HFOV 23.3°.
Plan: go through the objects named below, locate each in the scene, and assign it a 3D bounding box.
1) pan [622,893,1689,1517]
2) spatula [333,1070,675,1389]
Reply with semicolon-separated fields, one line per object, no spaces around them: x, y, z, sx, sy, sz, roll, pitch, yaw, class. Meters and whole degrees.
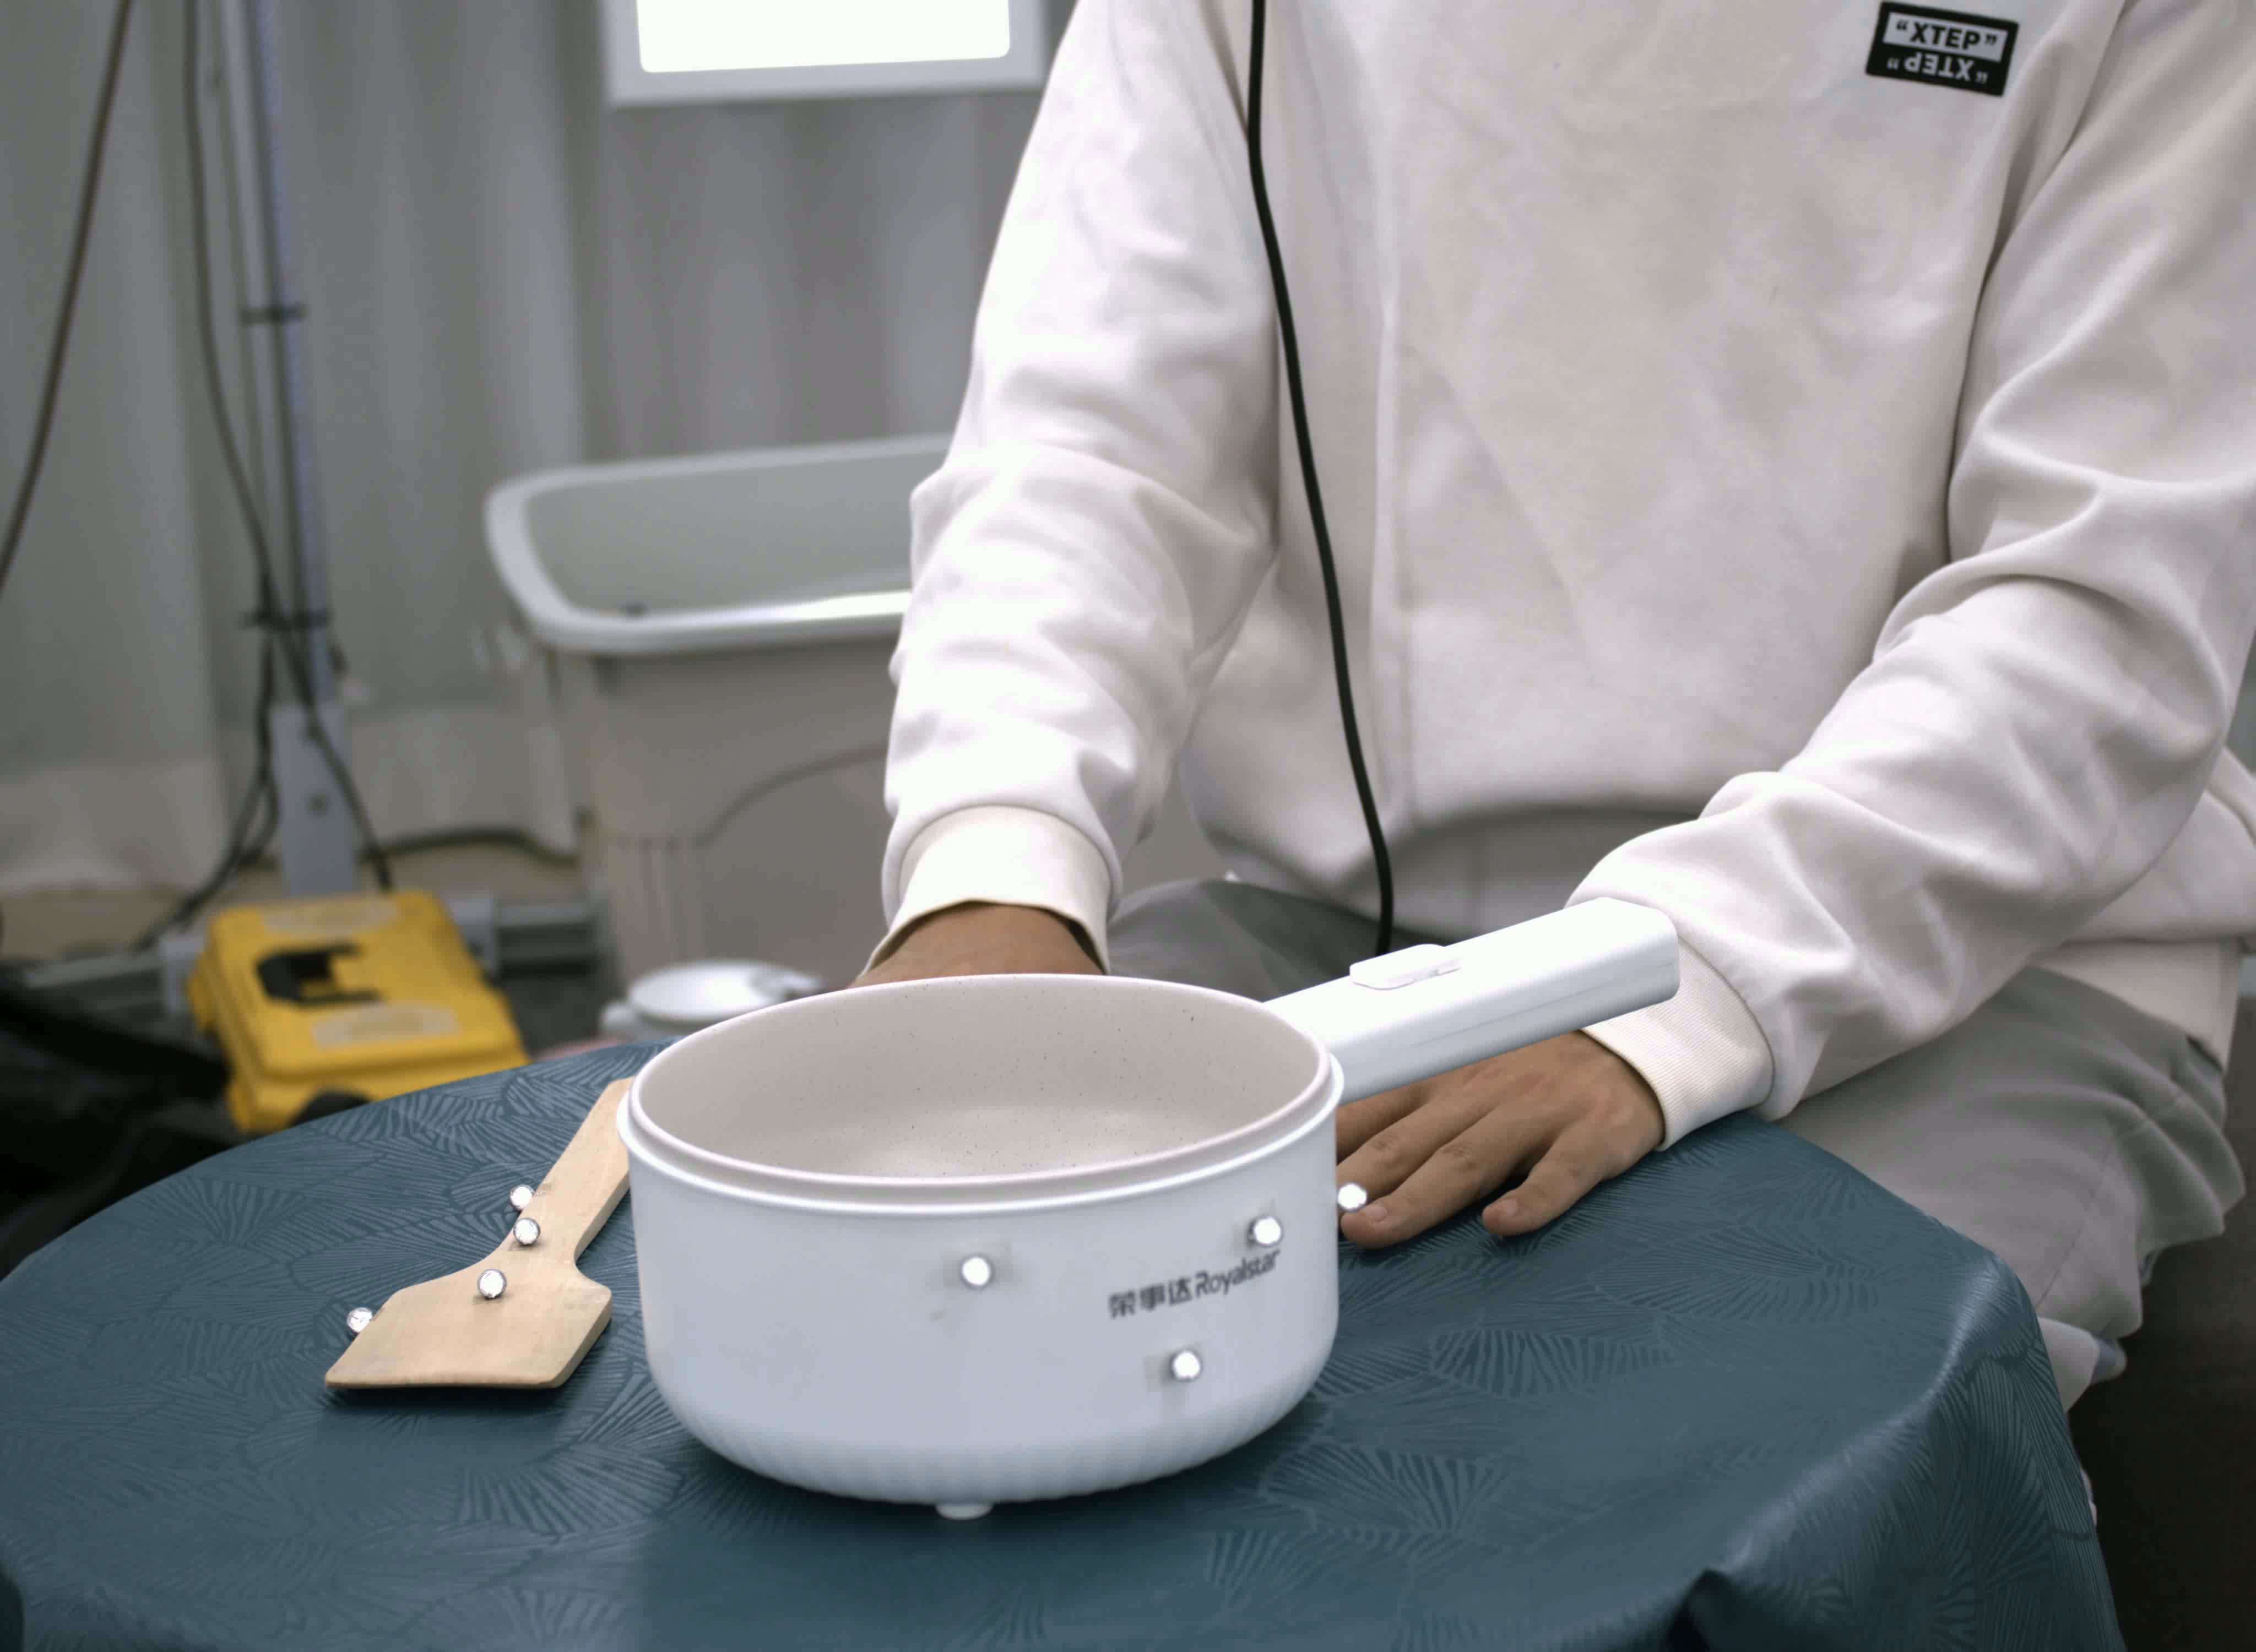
0.021;0.101;1.569;0.354;0.102;0.202;-14;18;-37;pan
-0.176;0.124;1.699;0.072;0.010;0.294;-2;15;8;spatula
